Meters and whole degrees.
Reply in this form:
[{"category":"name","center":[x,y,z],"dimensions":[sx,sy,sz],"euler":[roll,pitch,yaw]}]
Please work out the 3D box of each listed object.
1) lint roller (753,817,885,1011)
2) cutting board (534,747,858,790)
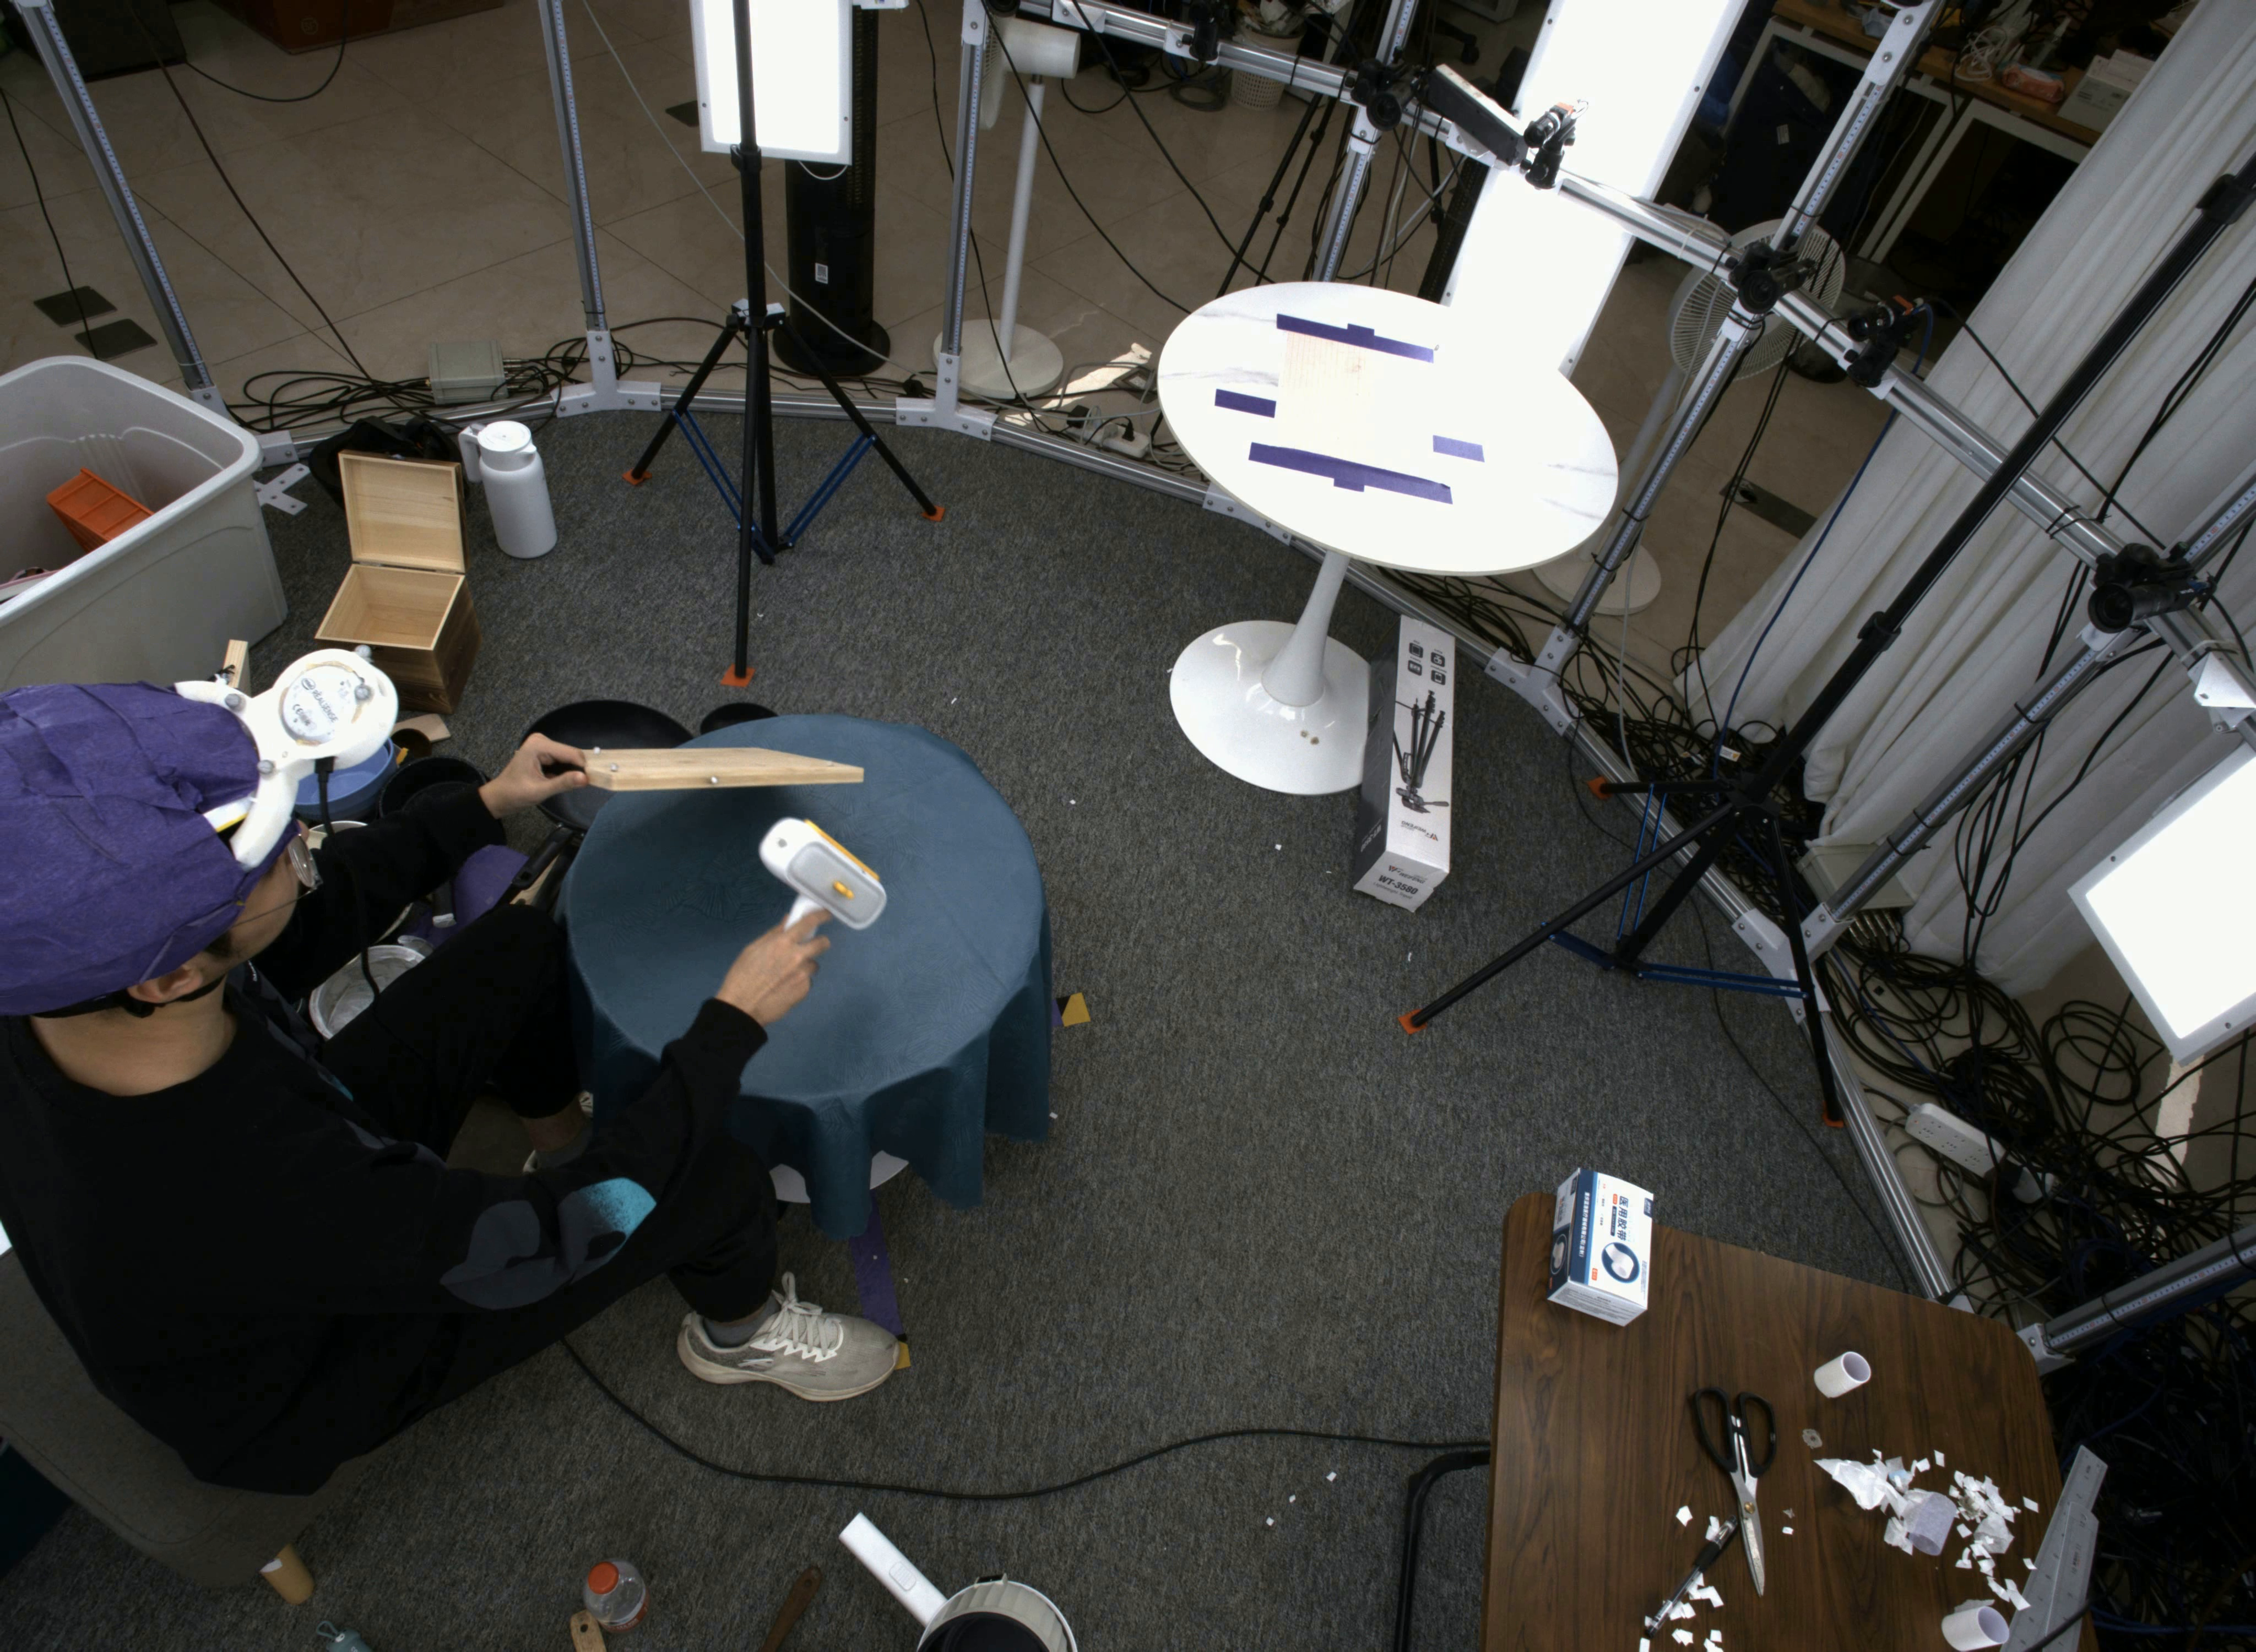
[{"category":"lint roller","center":[-0.363,0.107,1.443],"dimensions":[0.072,0.199,0.193],"euler":[23,79,26]},{"category":"cutting board","center":[-0.536,-0.073,1.567],"dimensions":[0.241,0.024,0.355],"euler":[11,10,38]}]
